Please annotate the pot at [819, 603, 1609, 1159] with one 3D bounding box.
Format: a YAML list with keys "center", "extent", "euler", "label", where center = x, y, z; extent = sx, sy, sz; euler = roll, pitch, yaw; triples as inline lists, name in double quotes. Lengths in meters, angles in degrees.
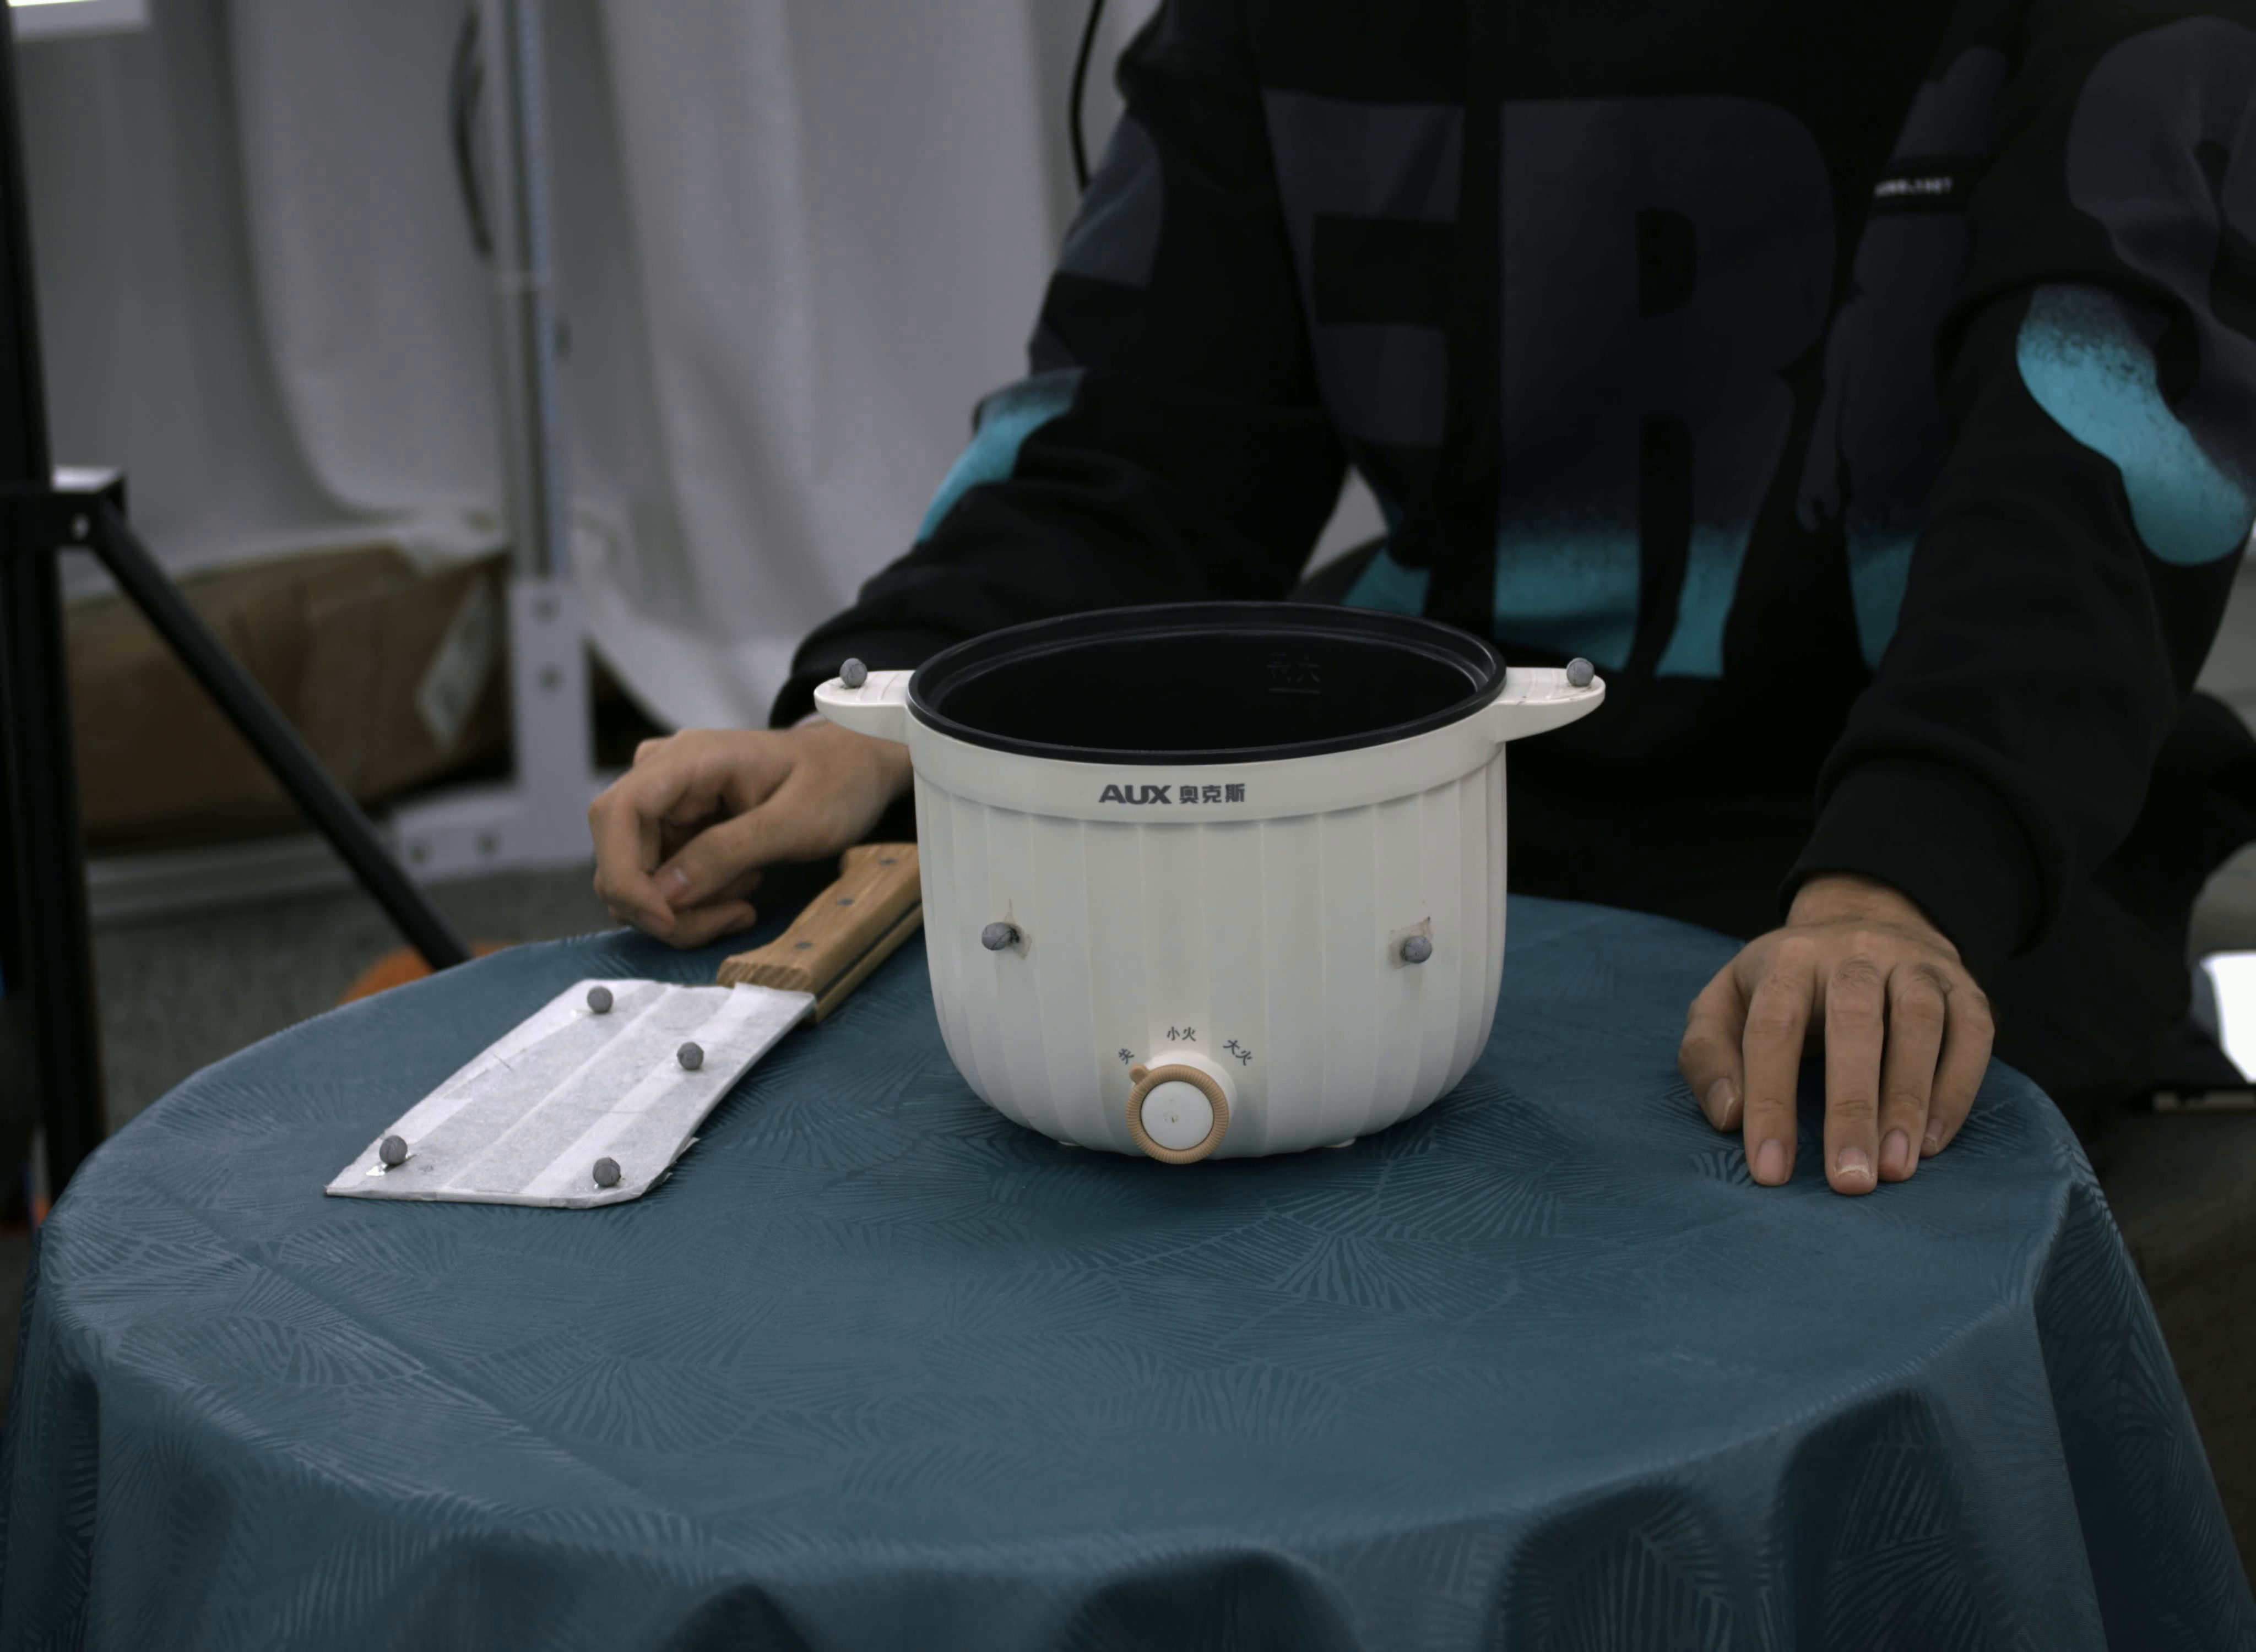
- center: [0.027, 0.019, 1.612]
  extent: [0.241, 0.143, 0.190]
  euler: [-1, 12, 9]
  label: "pot"

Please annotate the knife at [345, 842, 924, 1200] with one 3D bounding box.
- center: [-0.140, 0.063, 1.708]
  extent: [0.115, 0.022, 0.311]
  euler: [4, 20, 23]
  label: "knife"
